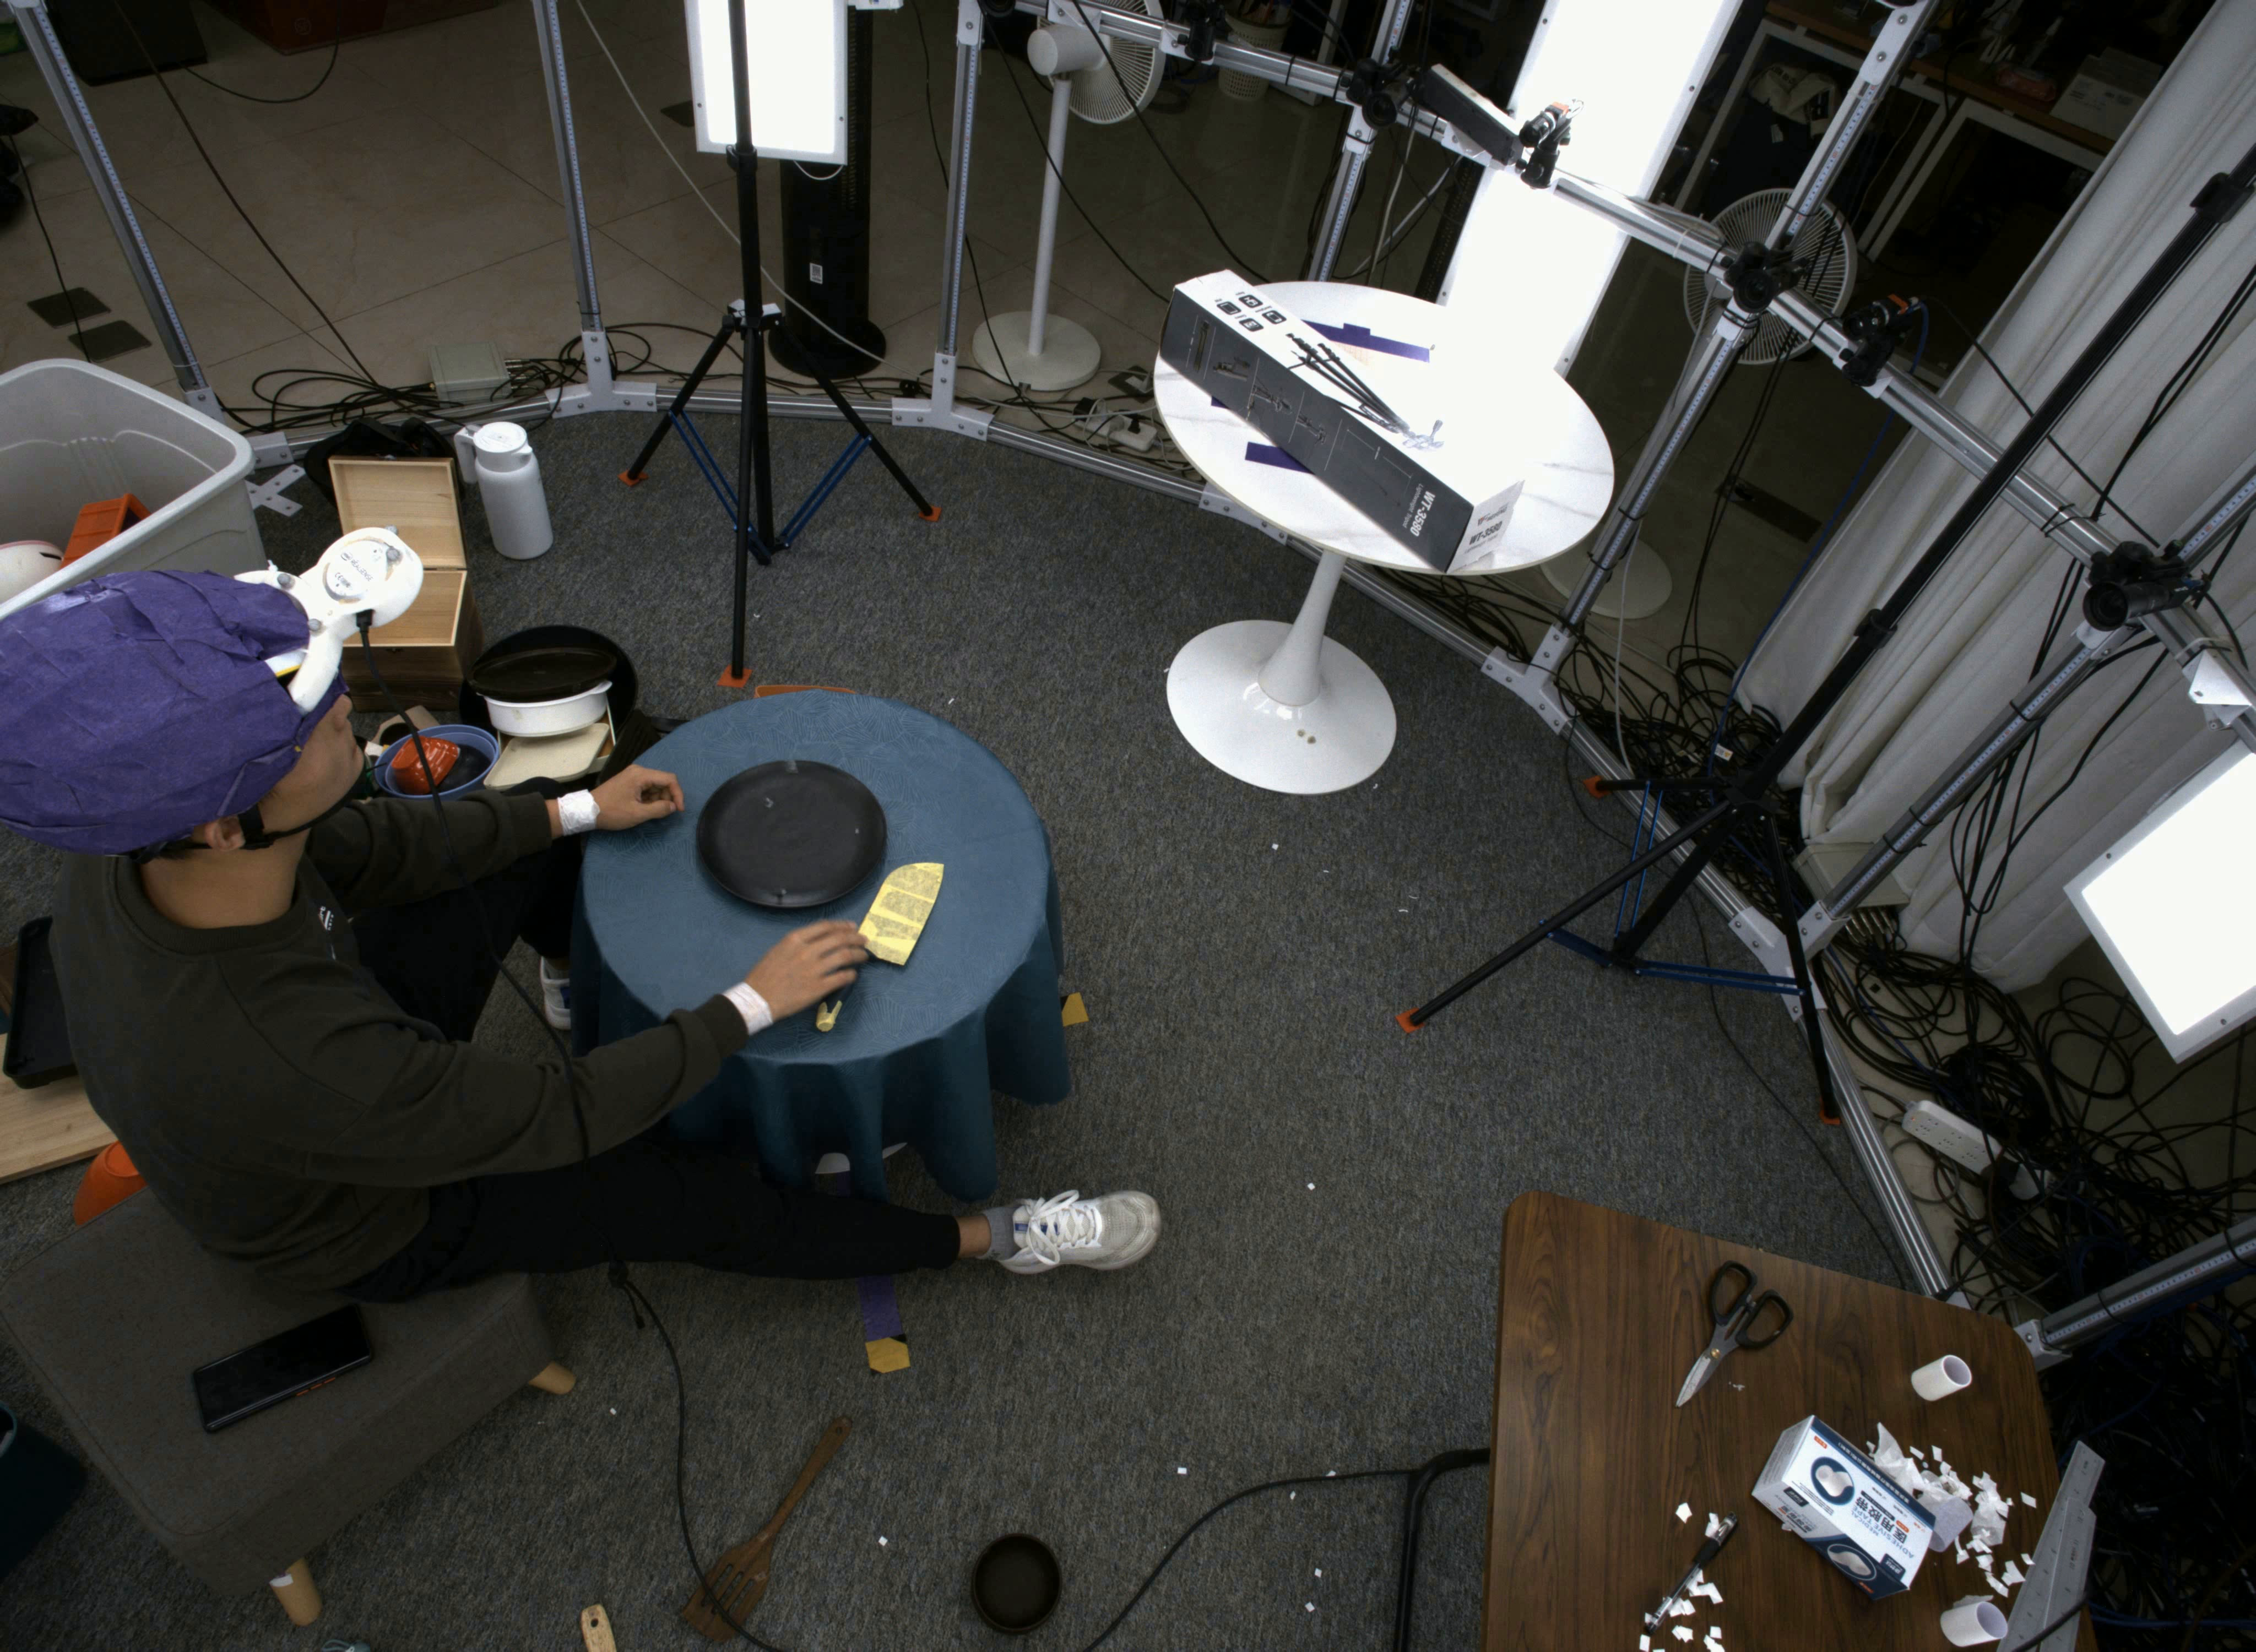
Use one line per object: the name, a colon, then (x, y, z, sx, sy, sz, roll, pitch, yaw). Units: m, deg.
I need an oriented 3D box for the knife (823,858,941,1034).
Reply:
knife: (-0.309, 0.145, 1.647, 0.080, 0.028, 0.287, 20, 51, 4)

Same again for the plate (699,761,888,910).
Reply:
plate: (-0.439, 0.012, 1.707, 0.244, 0.024, 0.240, 8, 53, -9)
